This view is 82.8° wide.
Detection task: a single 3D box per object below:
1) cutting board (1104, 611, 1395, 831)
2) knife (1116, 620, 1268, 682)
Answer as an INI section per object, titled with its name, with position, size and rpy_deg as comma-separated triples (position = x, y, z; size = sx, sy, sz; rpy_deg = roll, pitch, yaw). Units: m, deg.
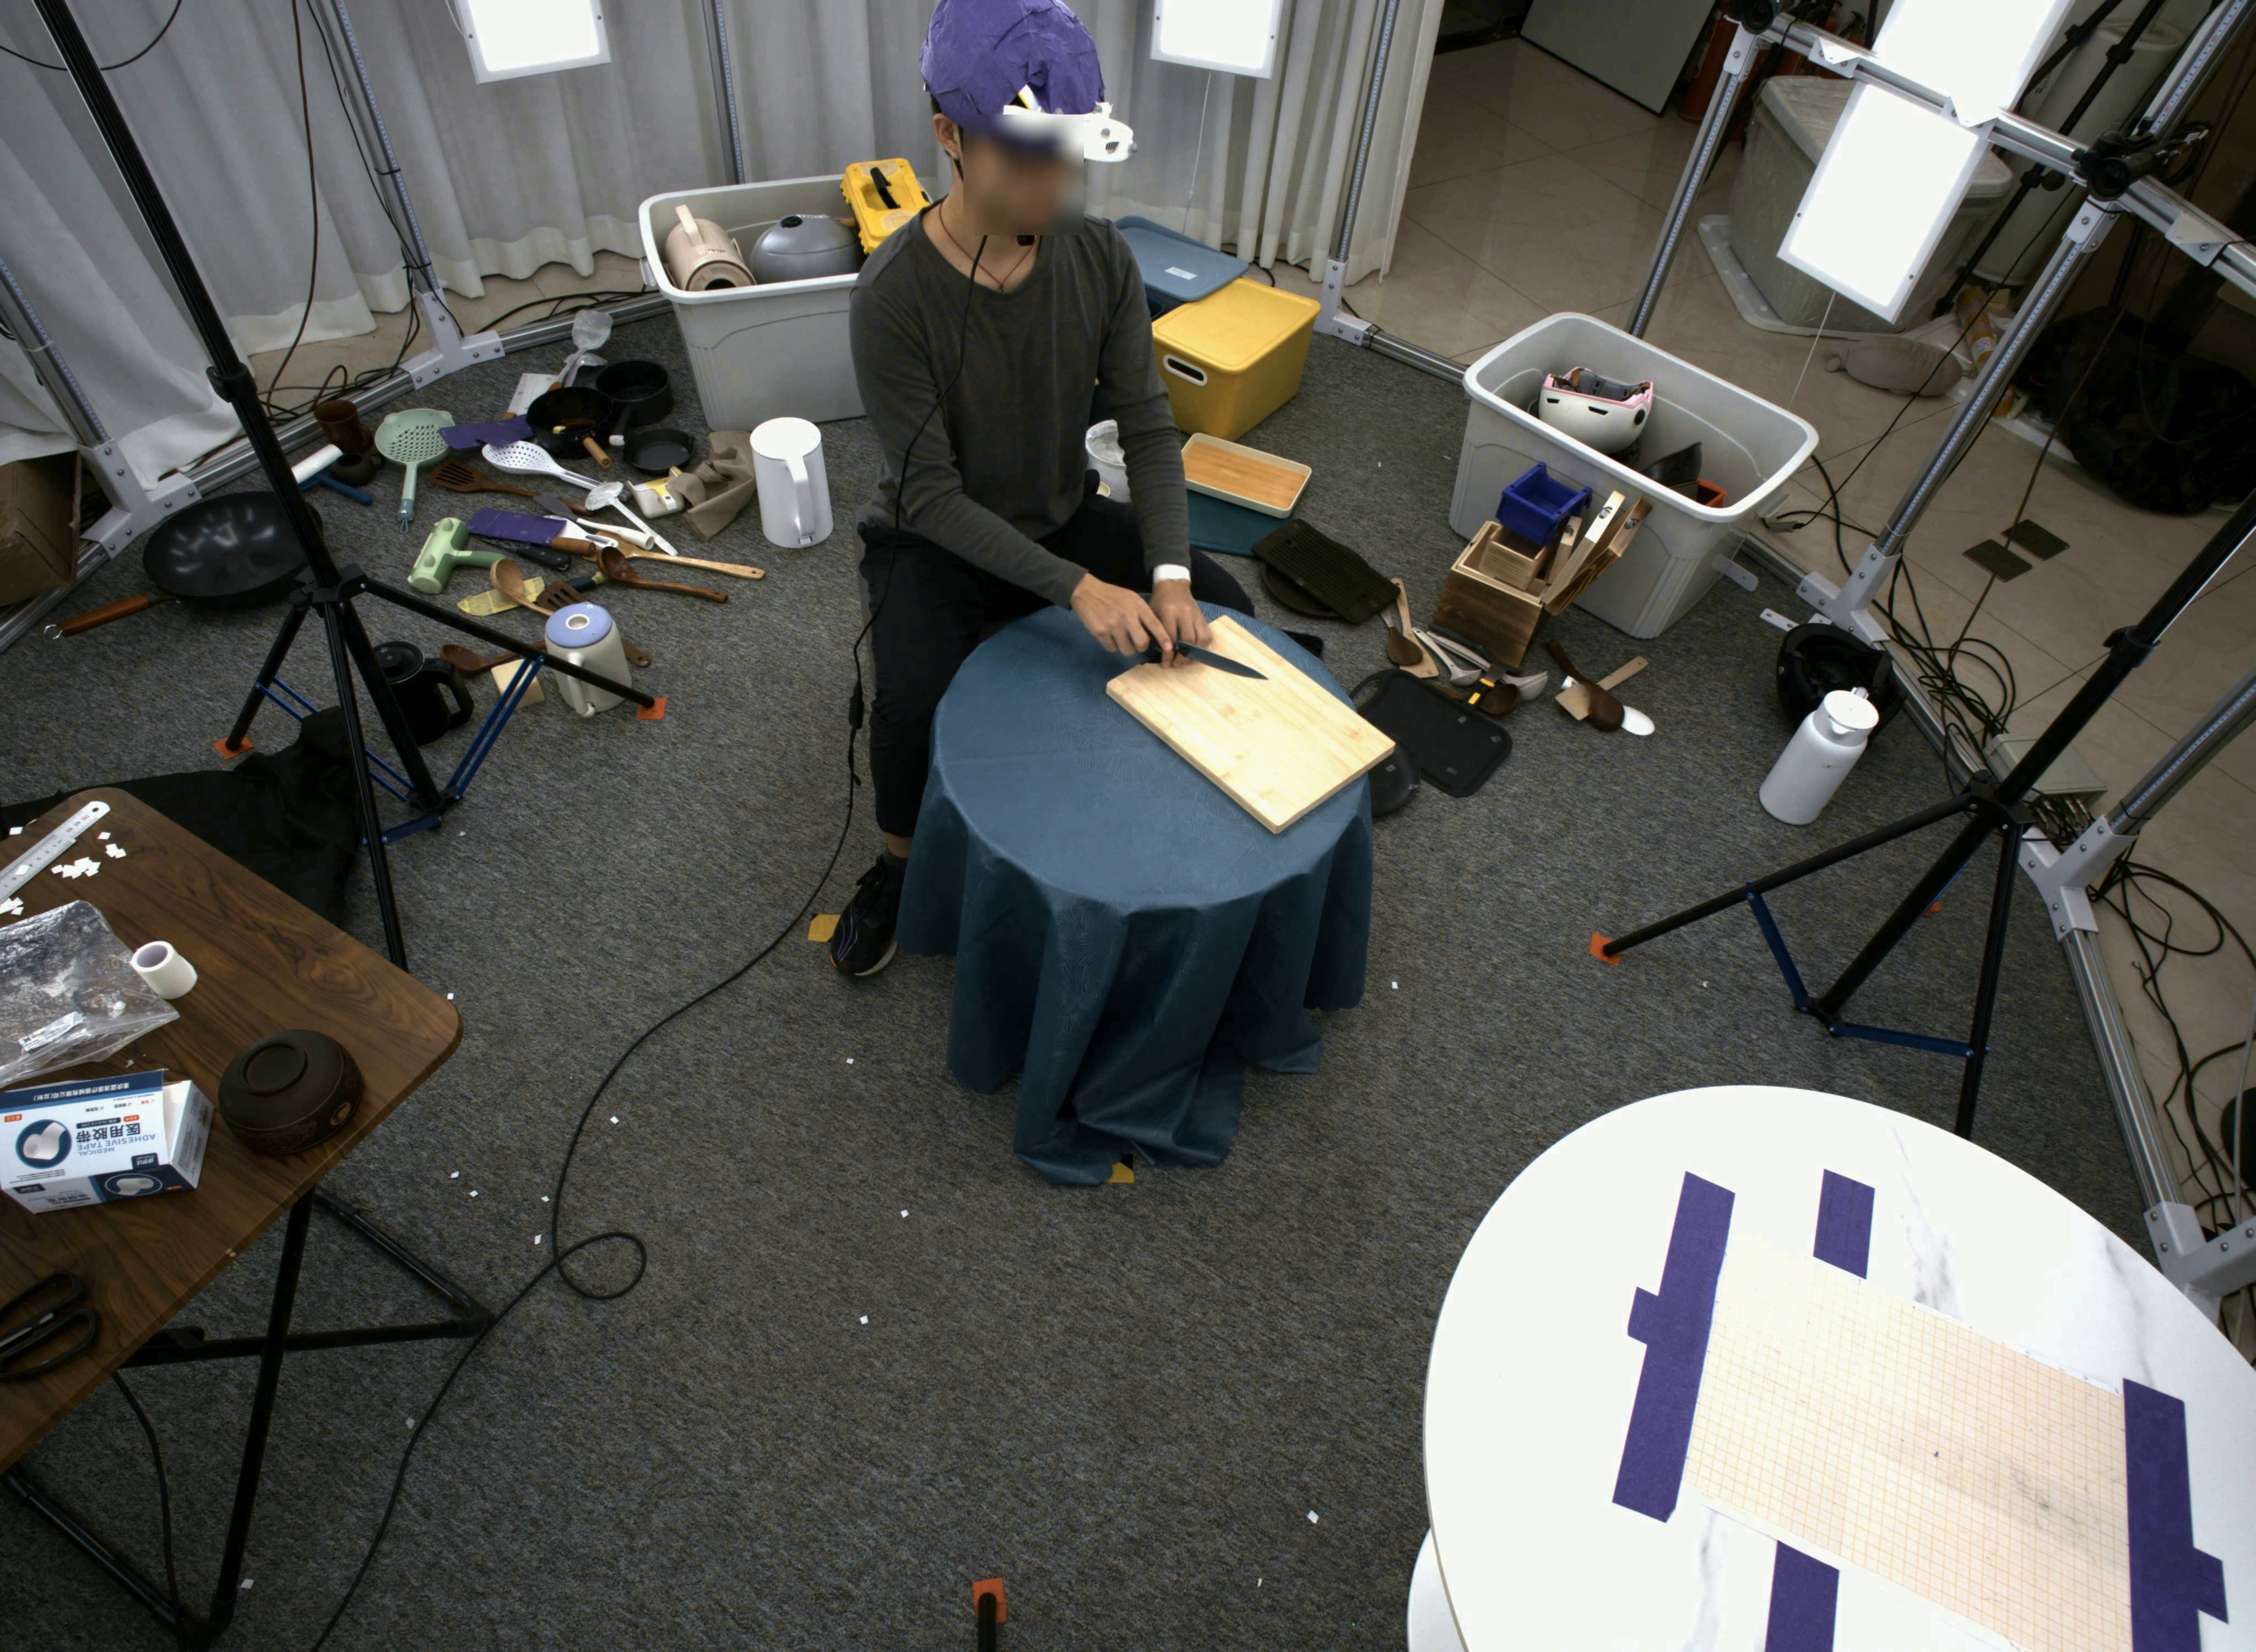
[cutting board]
position = 0.167, -0.156, 1.804
size = 0.252, 0.023, 0.354
rpy_deg = -33, 59, -28
[knife]
position = 0.088, -0.242, 1.773
size = 0.240, 0.024, 0.016
rpy_deg = 24, 39, 22
